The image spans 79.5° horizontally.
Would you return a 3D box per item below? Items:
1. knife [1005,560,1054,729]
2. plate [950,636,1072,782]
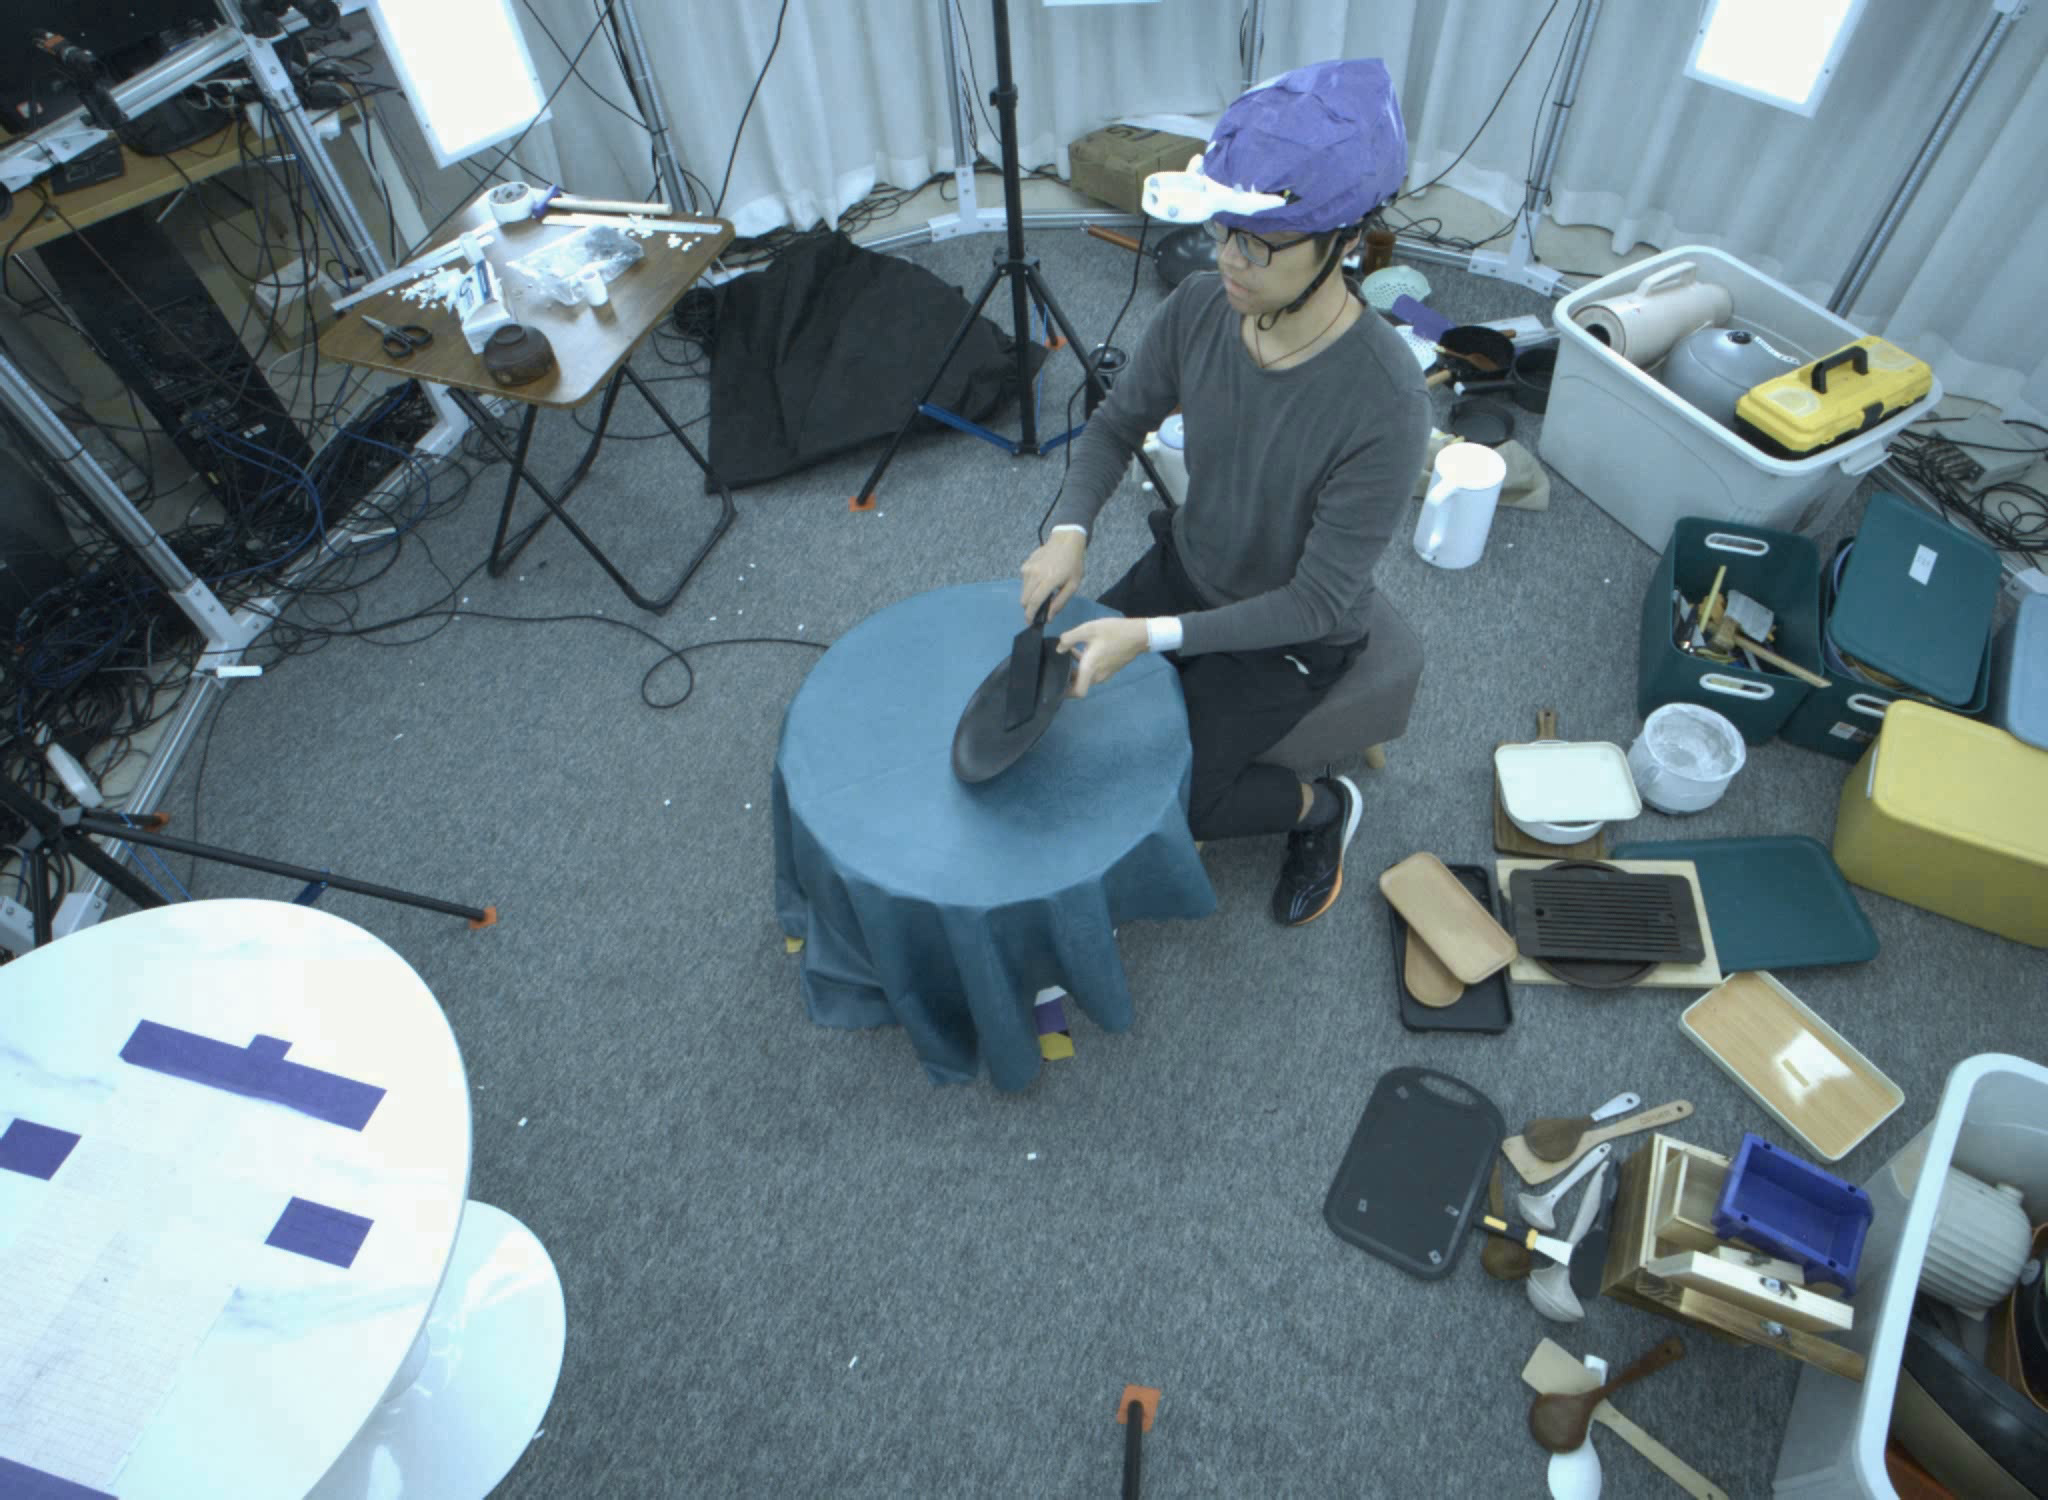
[{"bbox_3d":[0.009,-0.160,1.794,0.079,0.021,0.300,-23,46,42],"label":"knife"},{"bbox_3d":[-0.015,-0.056,1.739,0.242,0.024,0.242,-35,34,30],"label":"plate"}]
